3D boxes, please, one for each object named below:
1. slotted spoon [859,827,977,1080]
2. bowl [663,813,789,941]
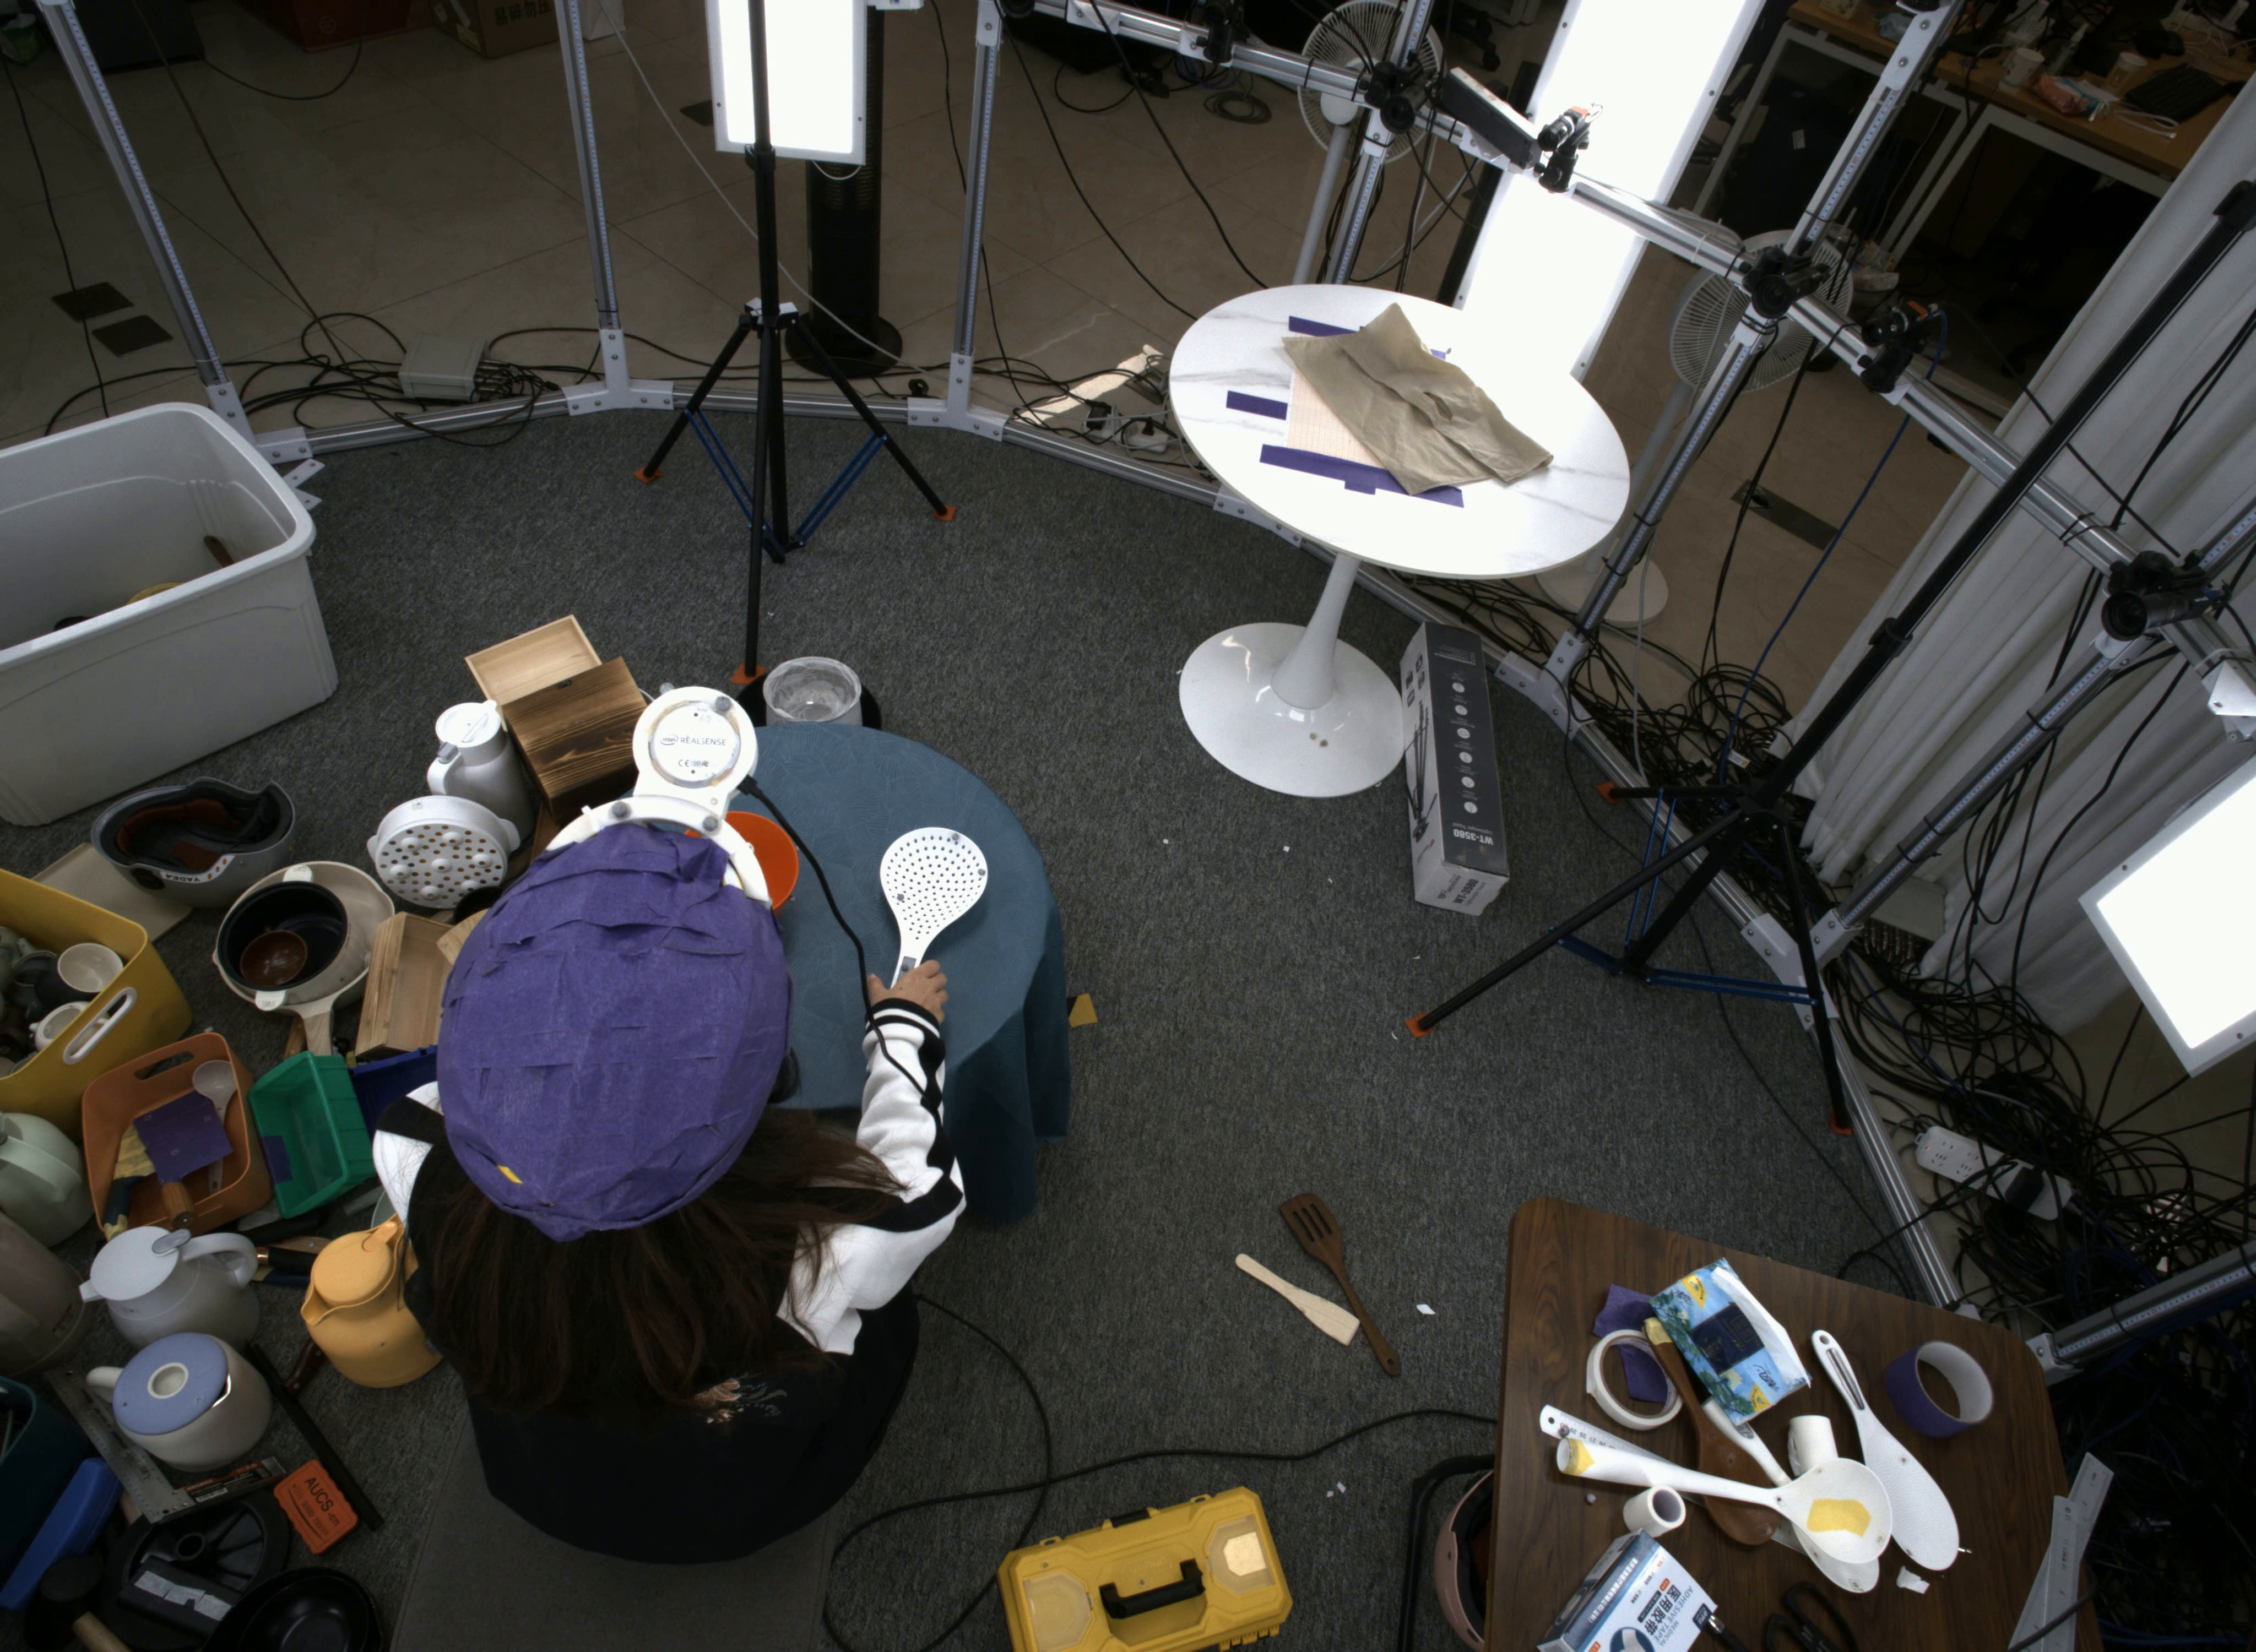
[{"bbox_3d":[-0.277,0.150,1.616,0.135,0.047,0.344,12,52,-3],"label":"slotted spoon"},{"bbox_3d":[-0.490,0.073,1.582,0.148,0.106,0.145,9,52,-9],"label":"bowl"}]
